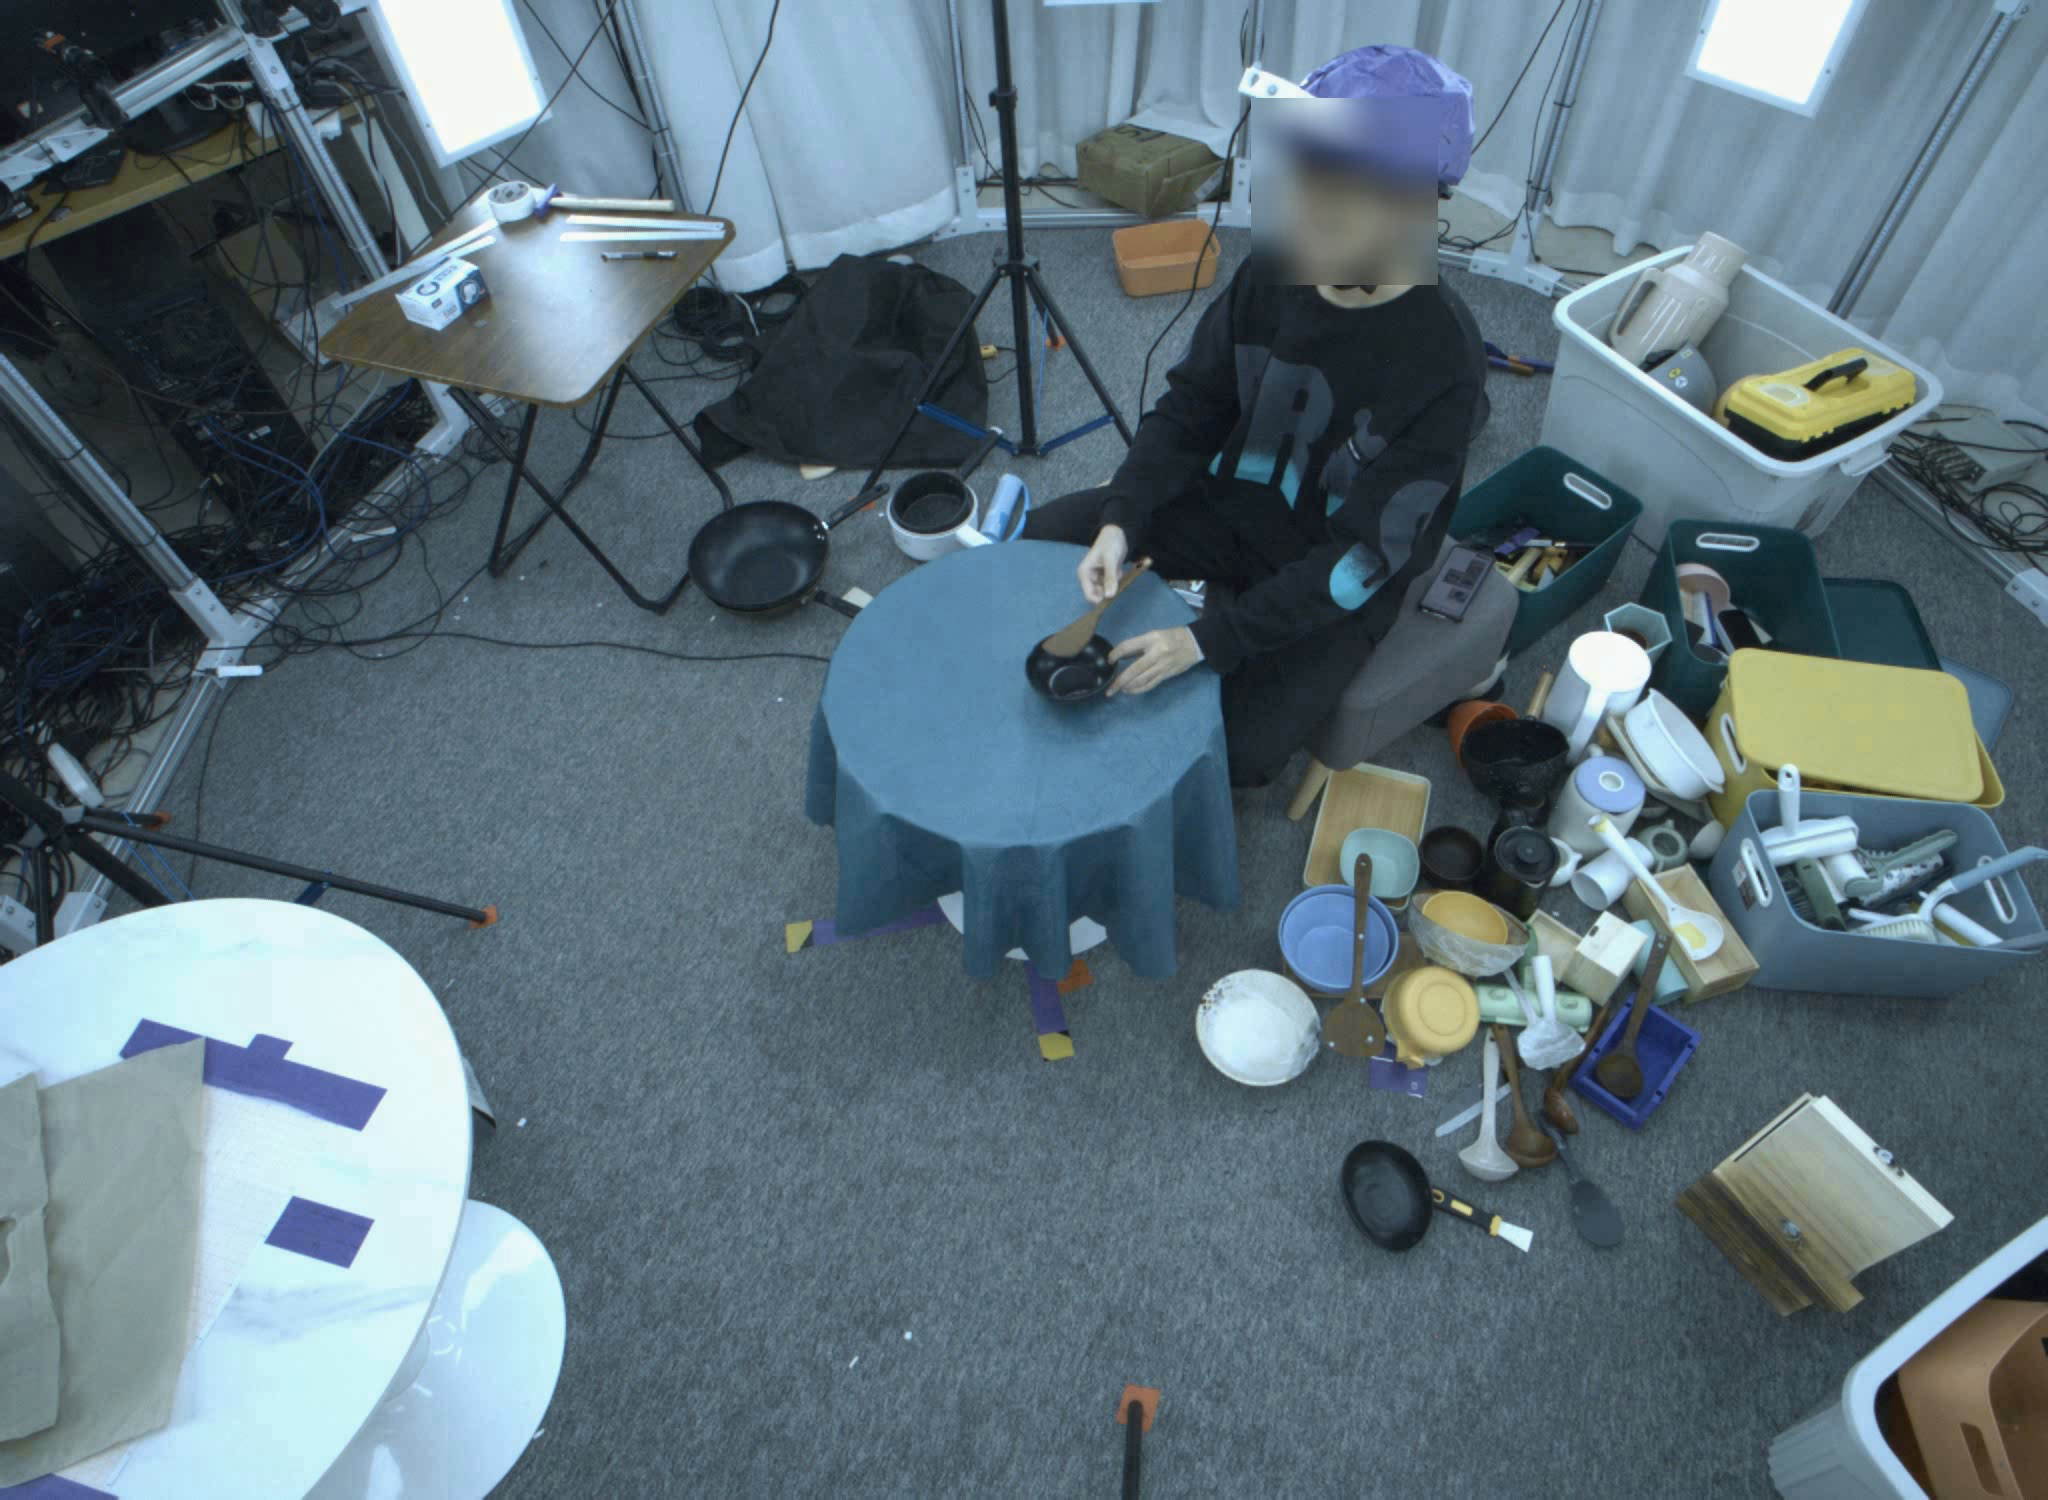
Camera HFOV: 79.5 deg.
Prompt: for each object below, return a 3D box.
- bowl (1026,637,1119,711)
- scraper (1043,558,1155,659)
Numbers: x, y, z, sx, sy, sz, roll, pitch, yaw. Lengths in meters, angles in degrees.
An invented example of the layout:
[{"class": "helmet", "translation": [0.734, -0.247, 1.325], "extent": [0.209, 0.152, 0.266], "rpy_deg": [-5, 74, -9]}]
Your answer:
[{"class": "bowl", "translation": [0.074, -0.106, 1.827], "extent": [0.139, 0.050, 0.138], "rpy_deg": [-3, 50, 5]}, {"class": "scraper", "translation": [0.117, -0.209, 1.808], "extent": [0.212, 0.011, 0.074], "rpy_deg": [-46, 39, -12]}]
